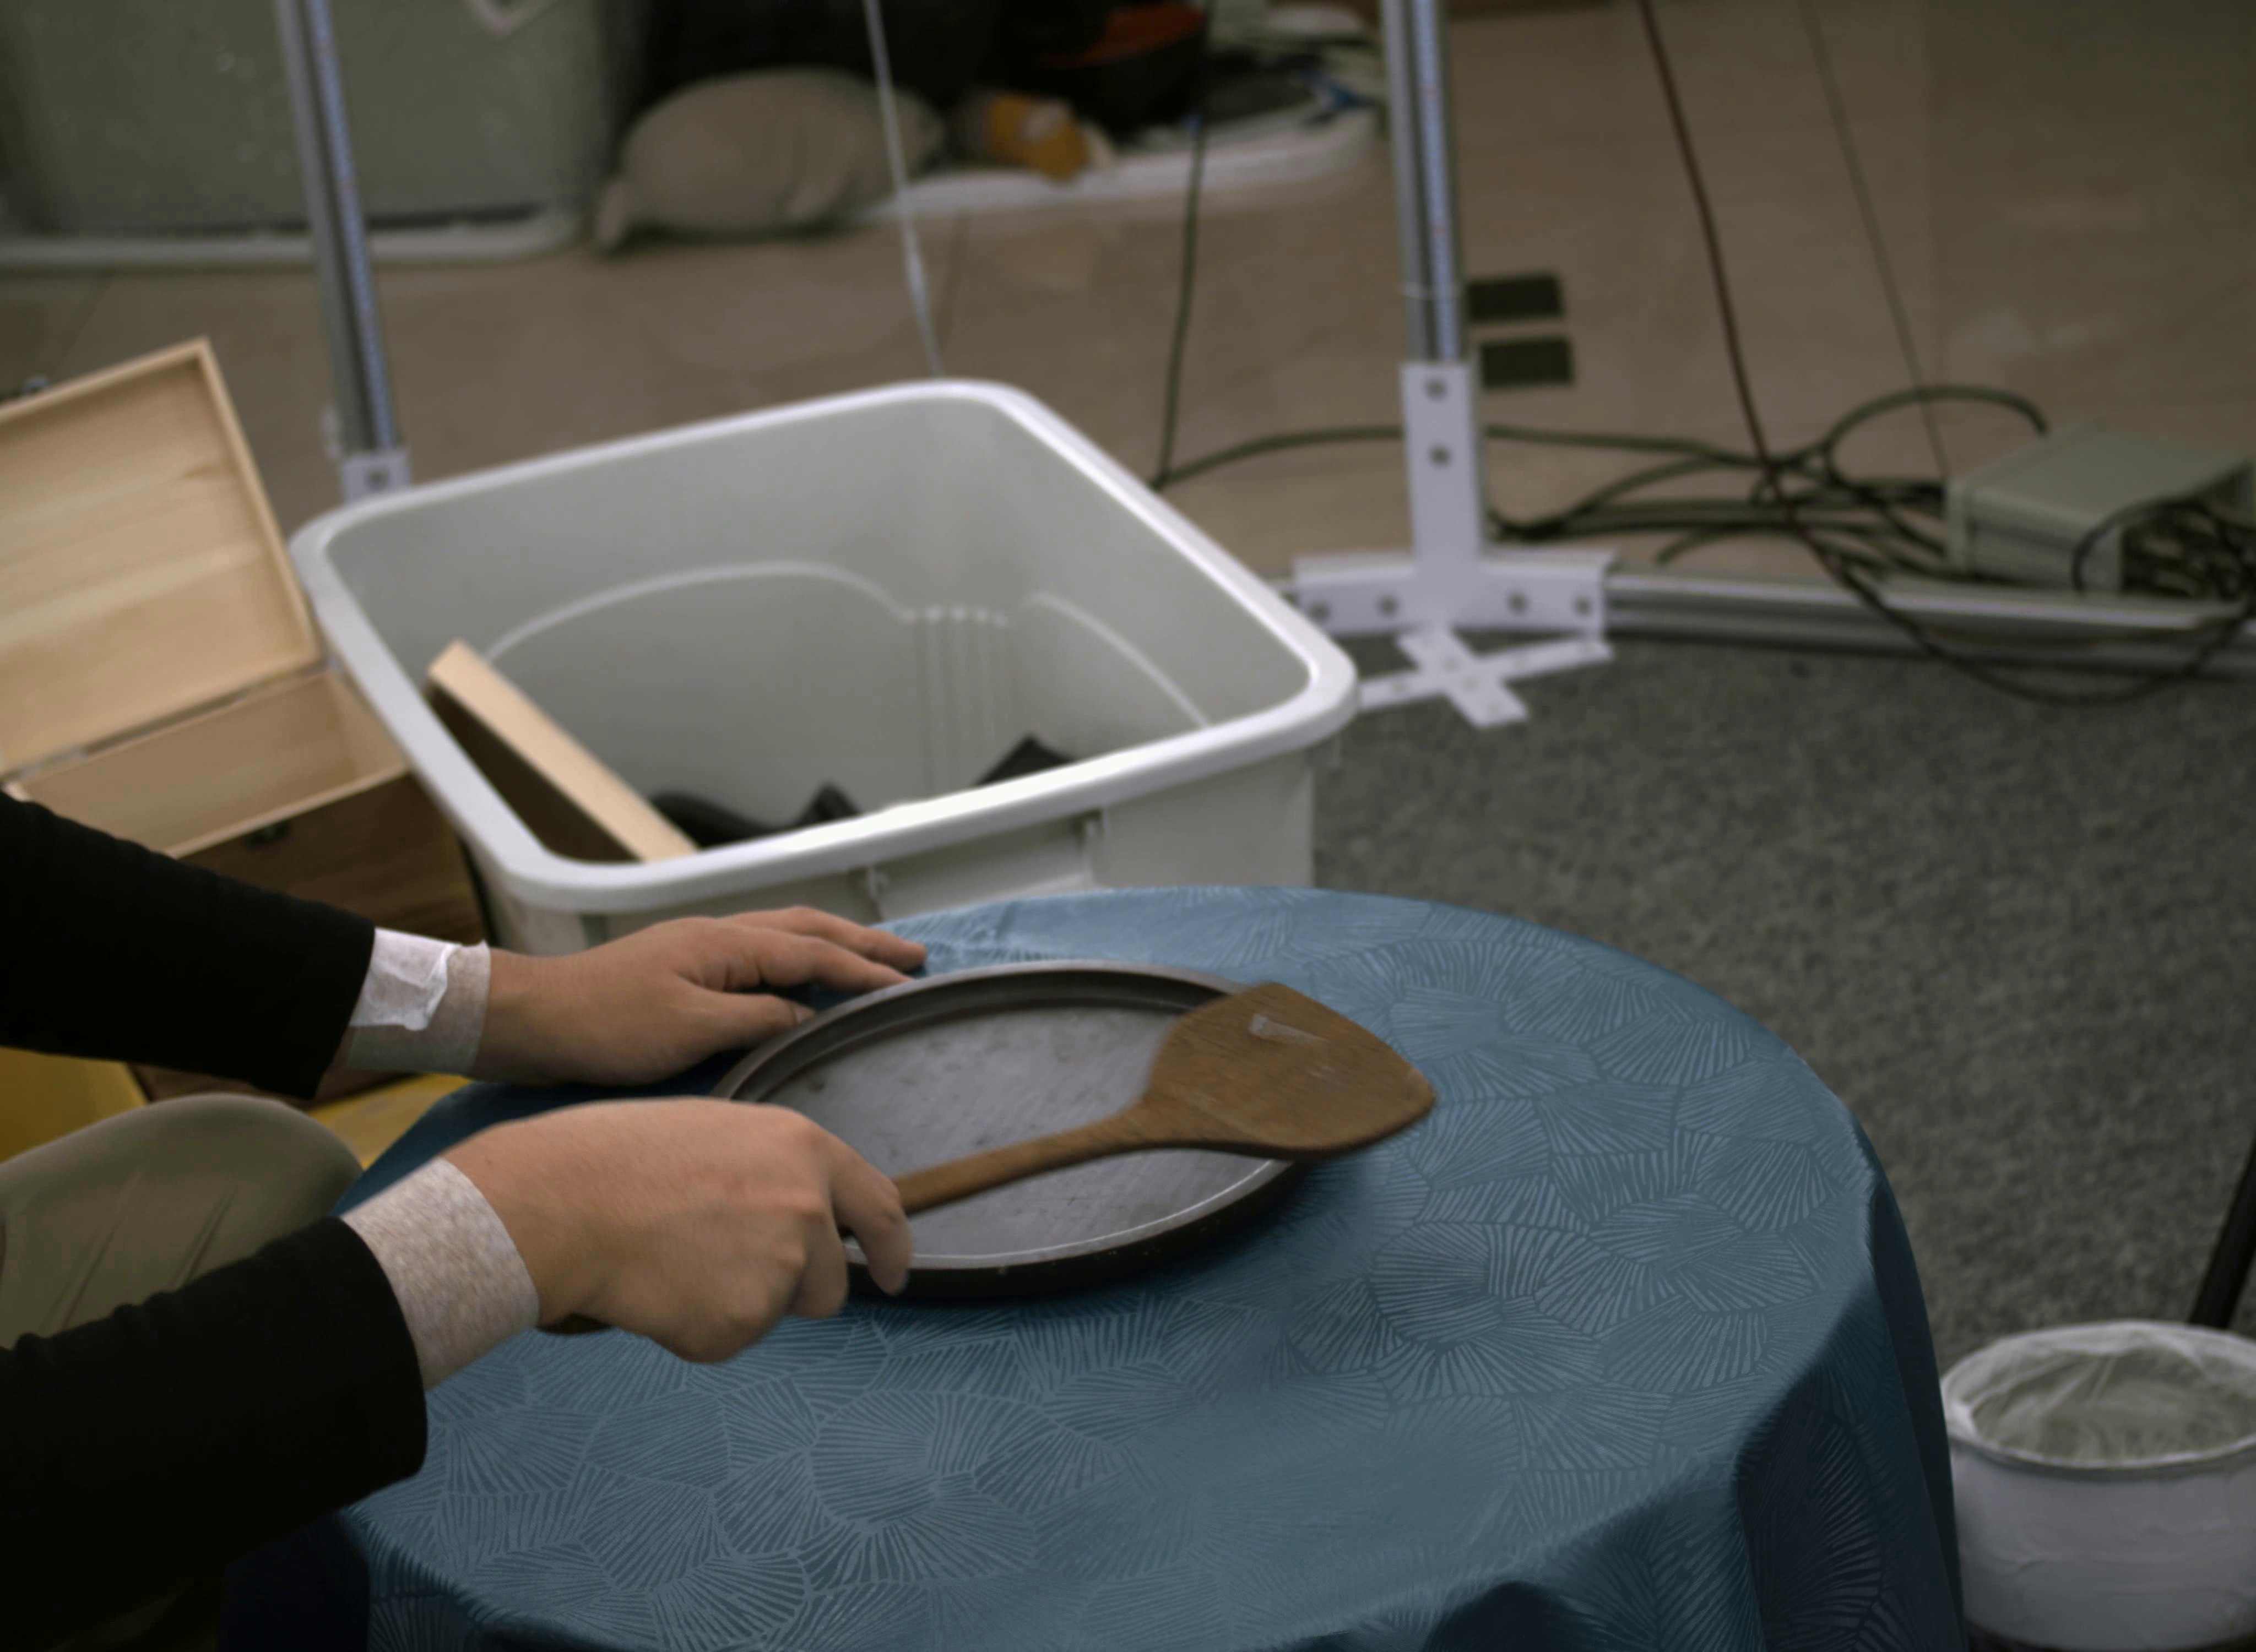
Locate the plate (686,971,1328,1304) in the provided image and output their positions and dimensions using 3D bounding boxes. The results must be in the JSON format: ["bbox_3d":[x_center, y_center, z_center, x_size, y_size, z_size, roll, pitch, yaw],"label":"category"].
[{"bbox_3d":[-0.043,0.118,2.179,0.254,0.029,0.251,-4,26,2],"label":"plate"}]

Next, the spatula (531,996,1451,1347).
[{"bbox_3d":[-0.046,0.122,1.936,0.384,0.016,0.095,-15,39,-40],"label":"spatula"}]
